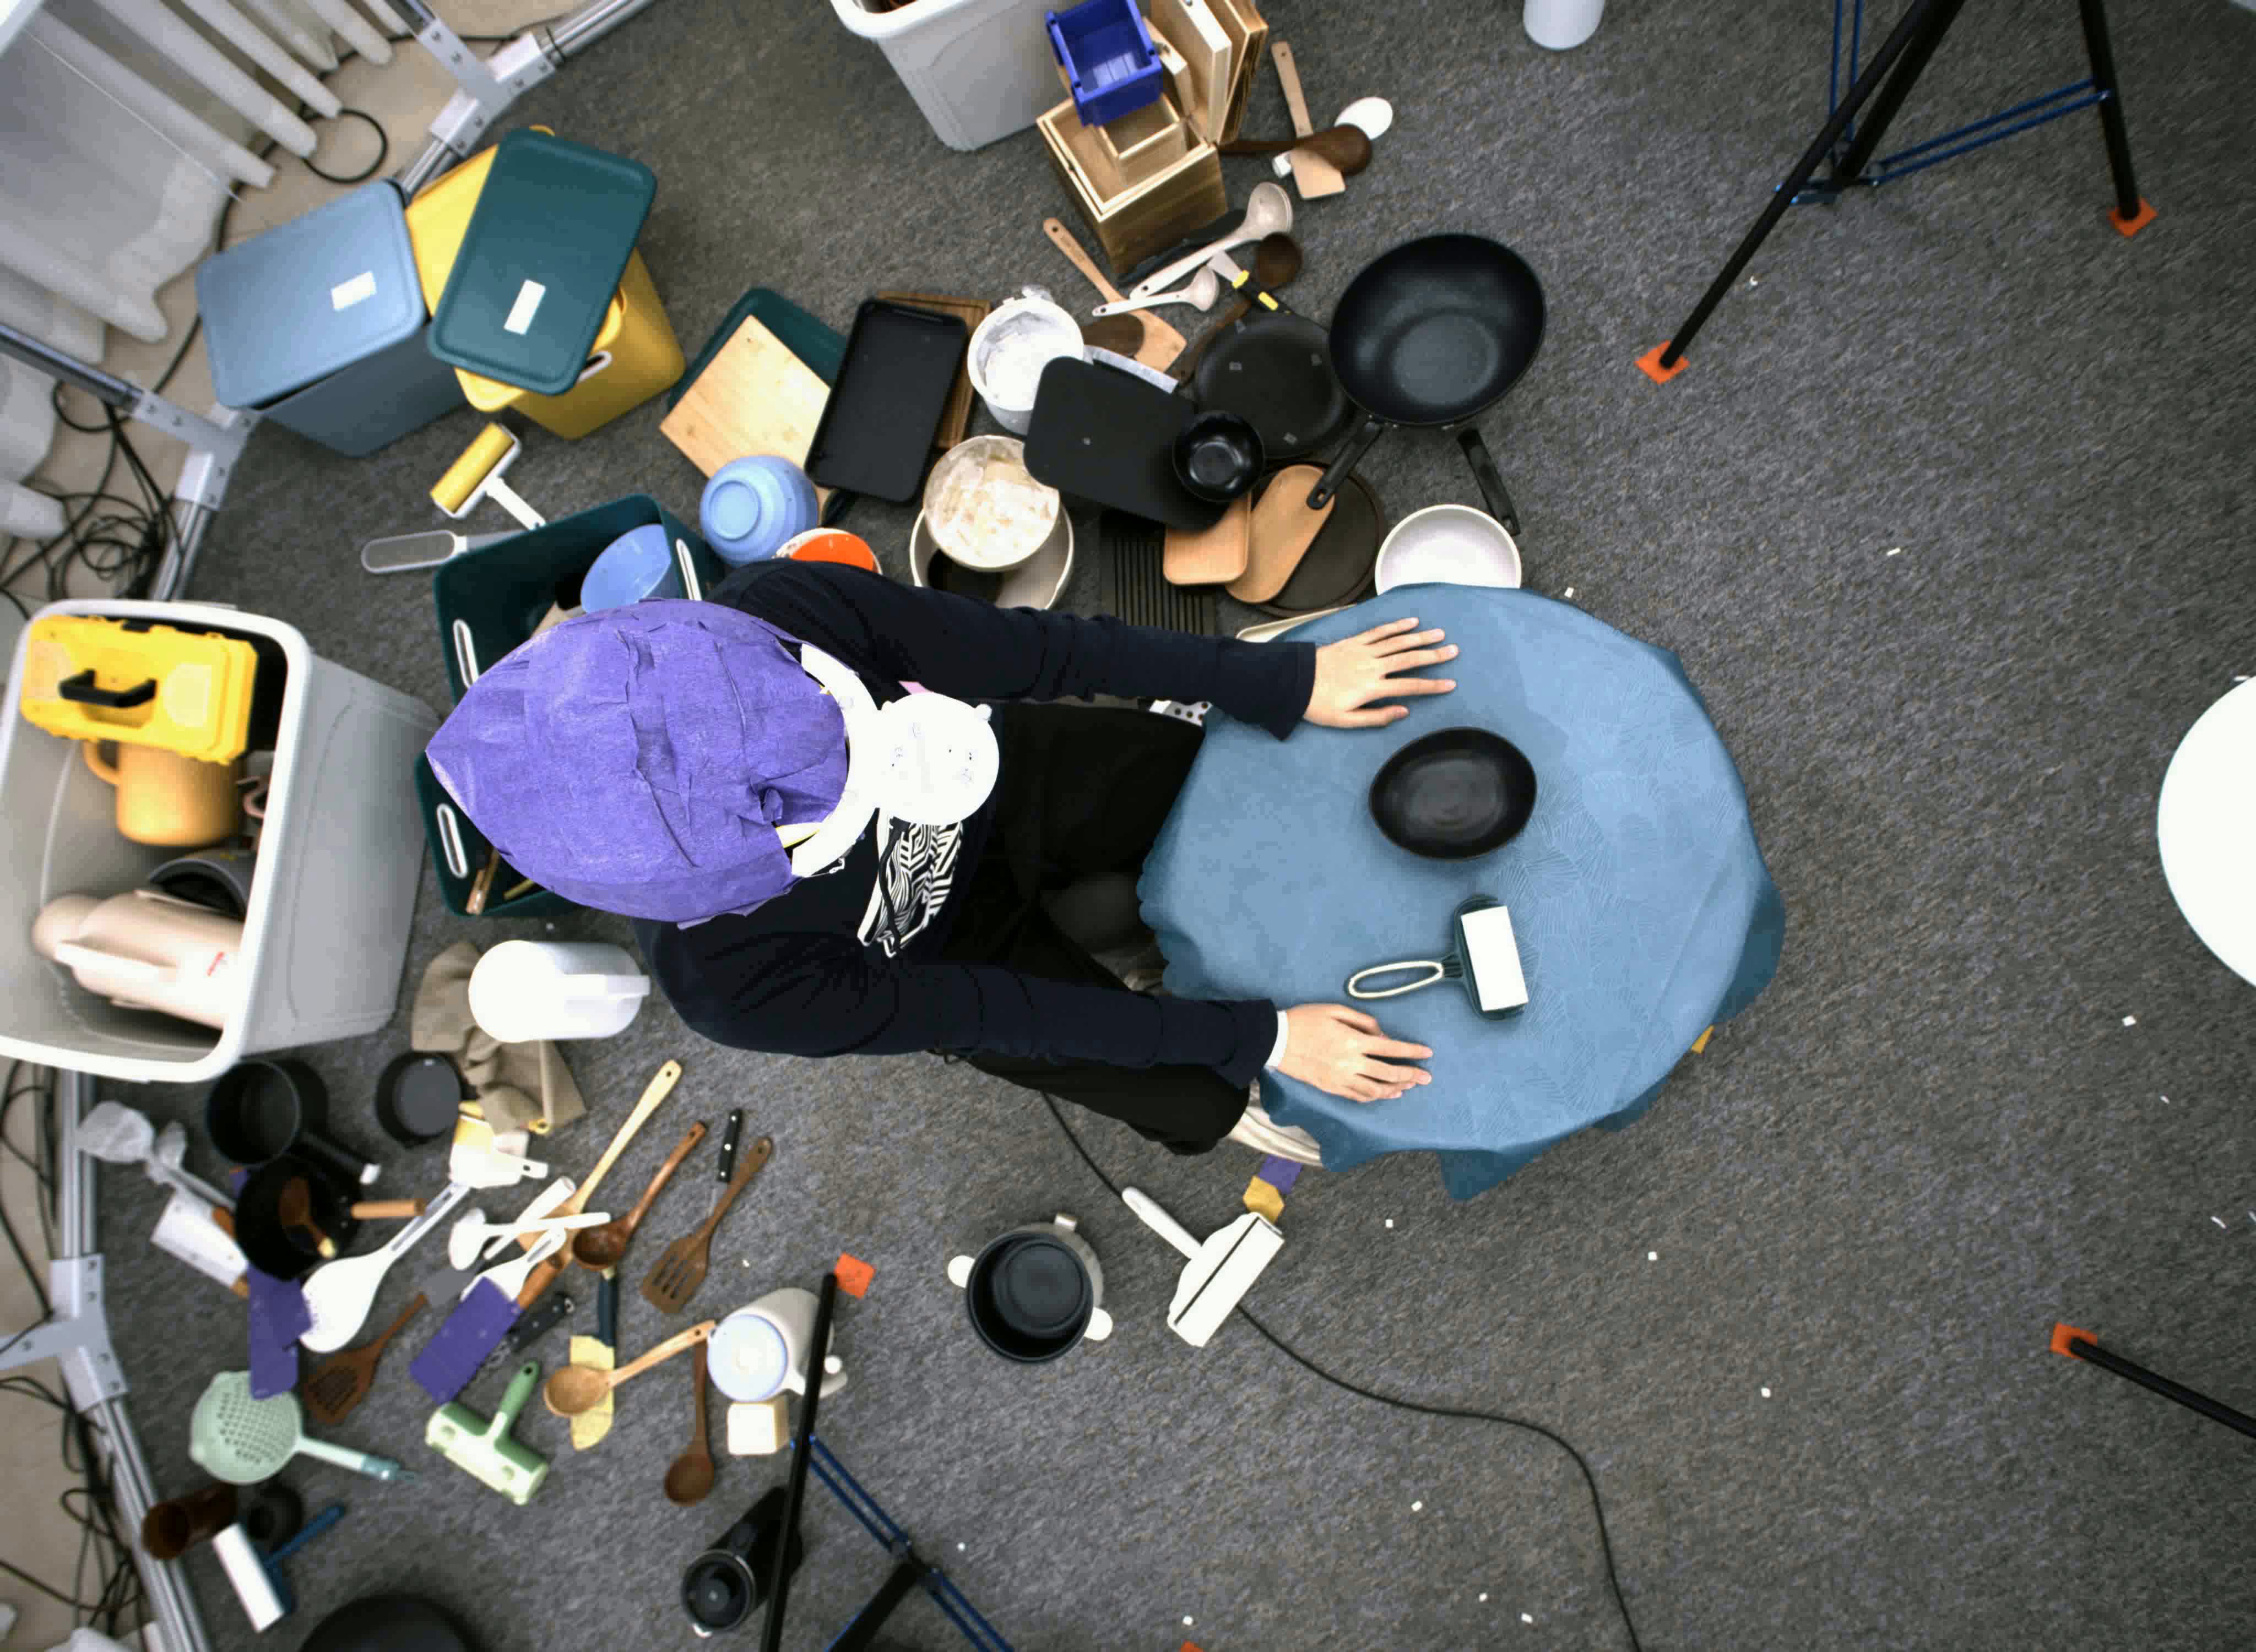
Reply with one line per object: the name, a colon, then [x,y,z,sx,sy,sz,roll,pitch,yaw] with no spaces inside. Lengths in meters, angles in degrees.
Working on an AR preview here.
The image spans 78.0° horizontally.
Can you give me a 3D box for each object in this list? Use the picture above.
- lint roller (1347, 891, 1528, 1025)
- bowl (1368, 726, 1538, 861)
lint roller: [0.313,0.149,1.429,0.181,0.048,0.133,-13,85,15]
bowl: [0.335,-0.031,1.420,0.171,0.066,0.136,-10,85,12]
